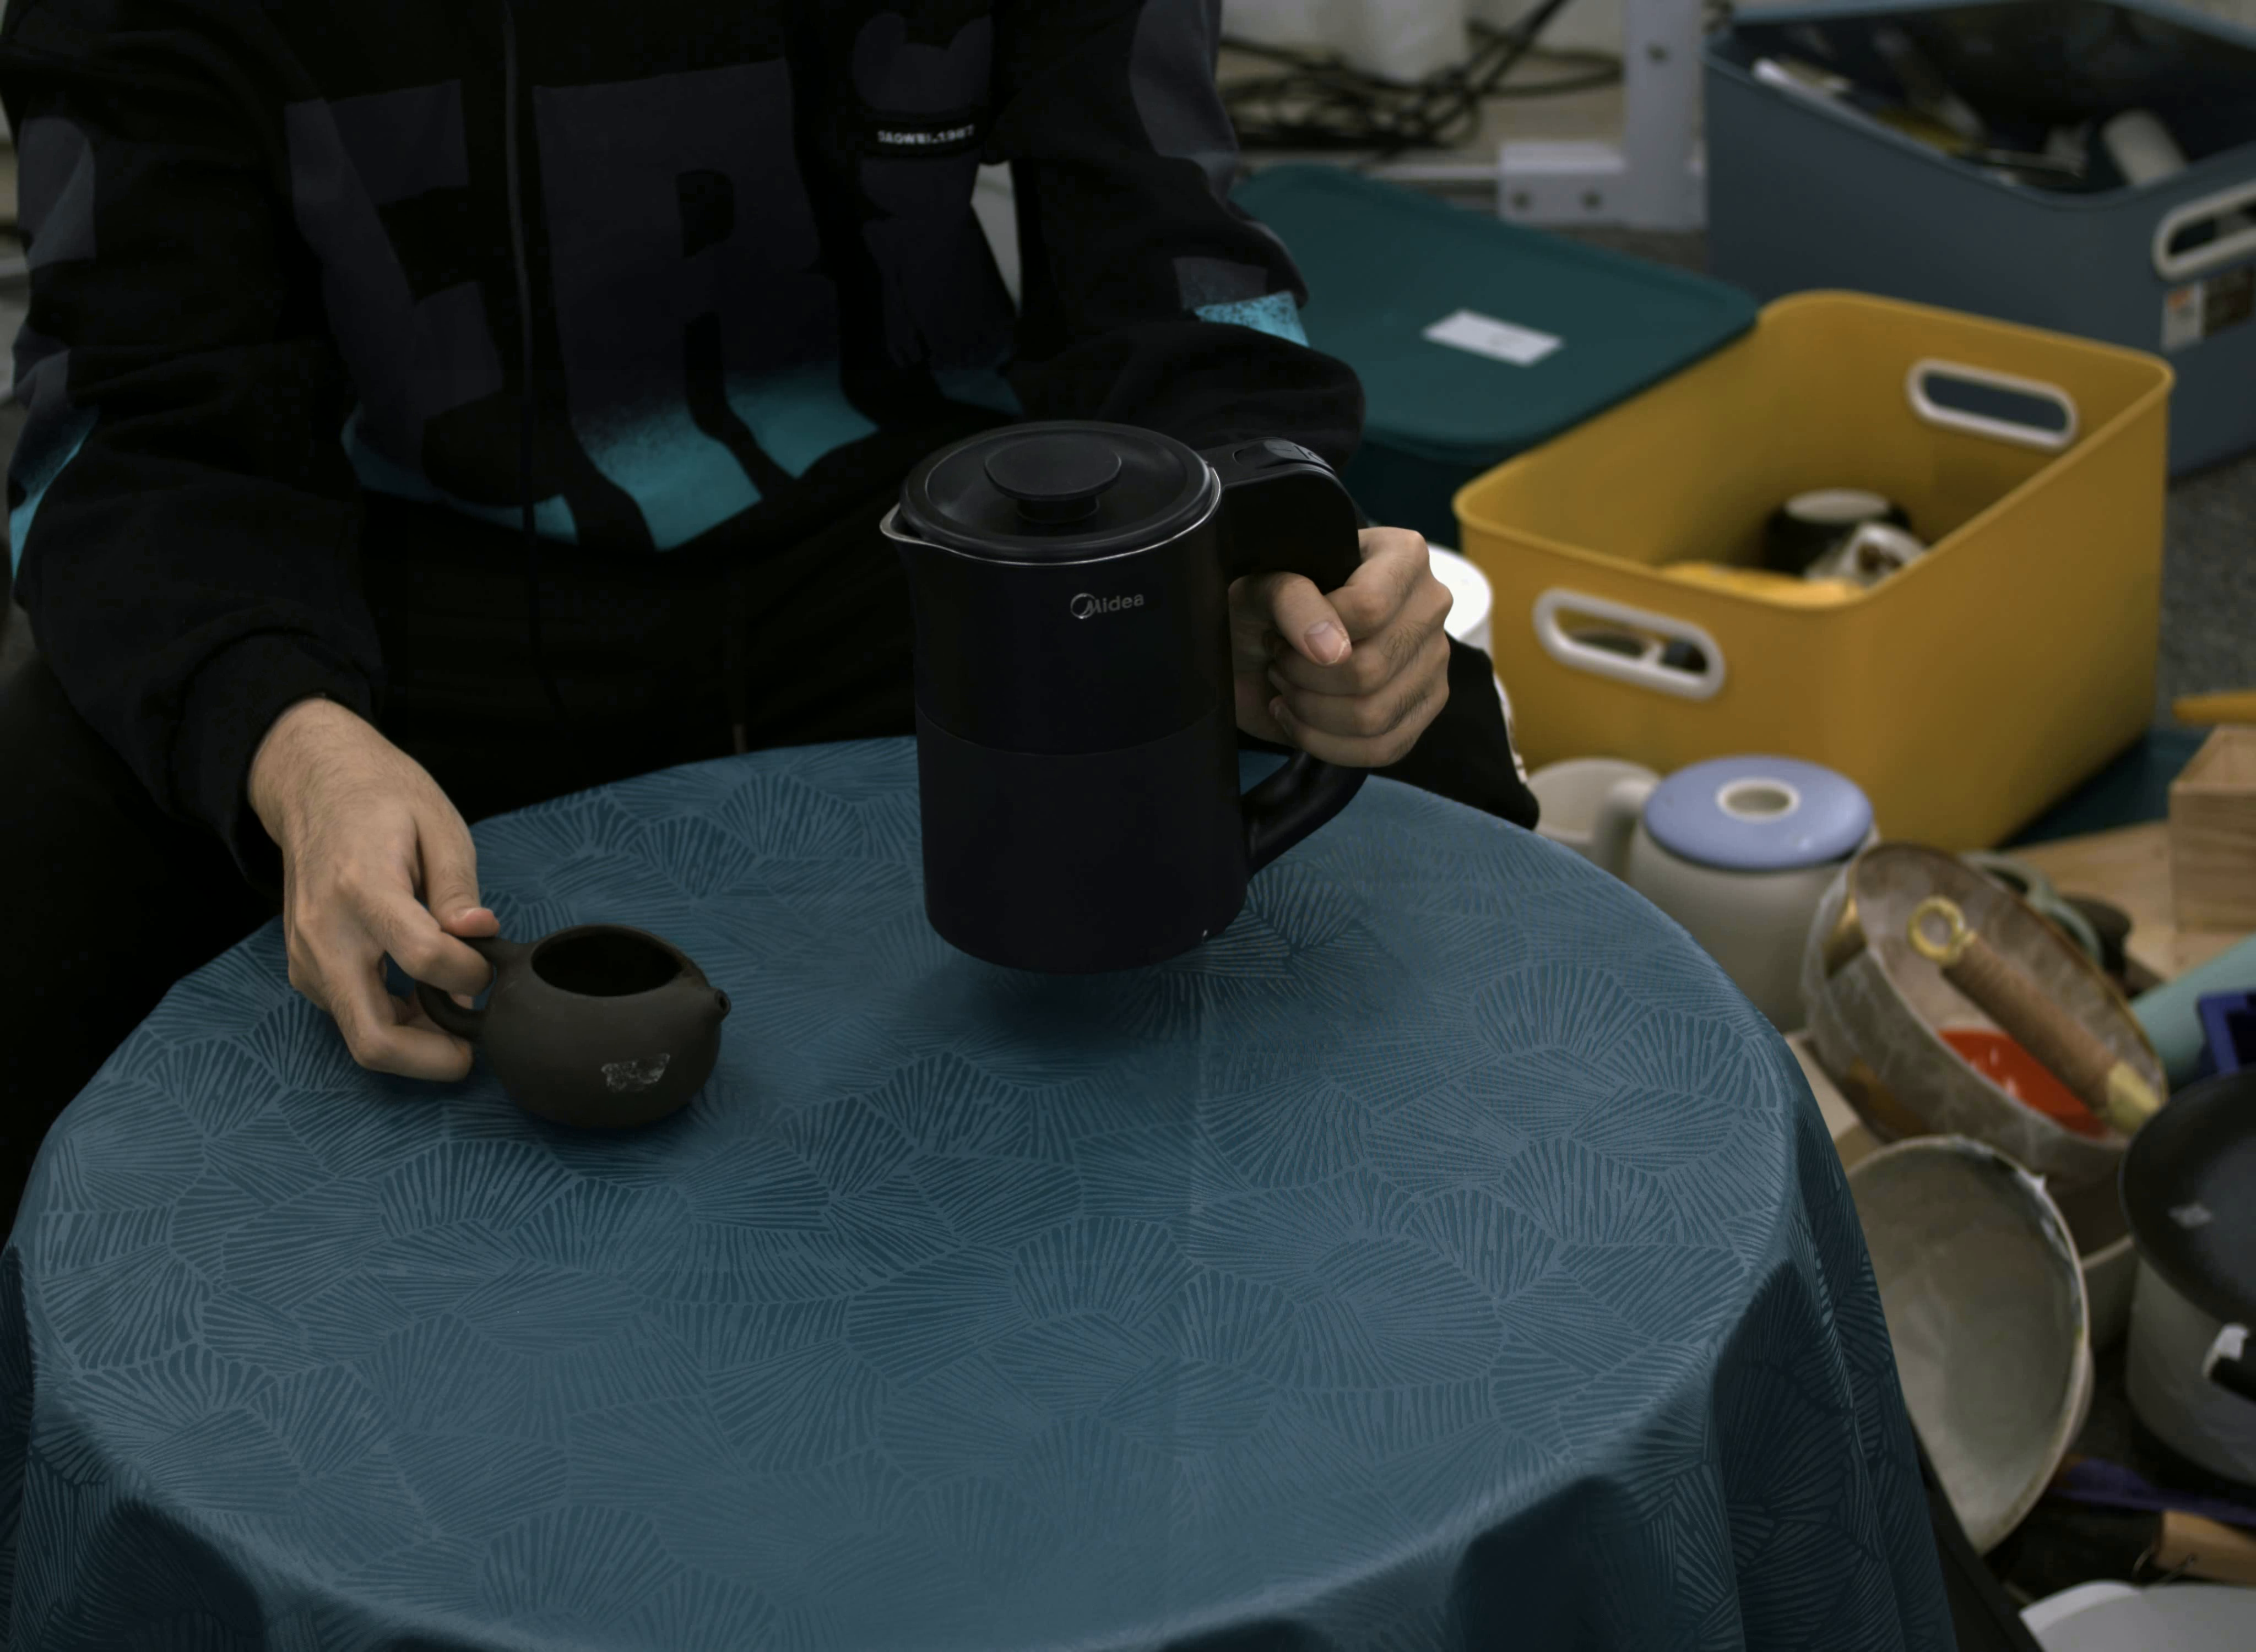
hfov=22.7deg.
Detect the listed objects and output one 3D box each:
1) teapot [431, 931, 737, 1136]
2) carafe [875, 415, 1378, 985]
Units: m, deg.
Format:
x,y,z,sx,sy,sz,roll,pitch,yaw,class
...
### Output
x,y,z,sx,sy,sz,roll,pitch,yaw,class
-0.187,0.067,1.922,0.113,0.052,0.084,17,28,18,teapot
0.002,-0.054,1.940,0.172,0.171,0.115,-14,27,-18,carafe
